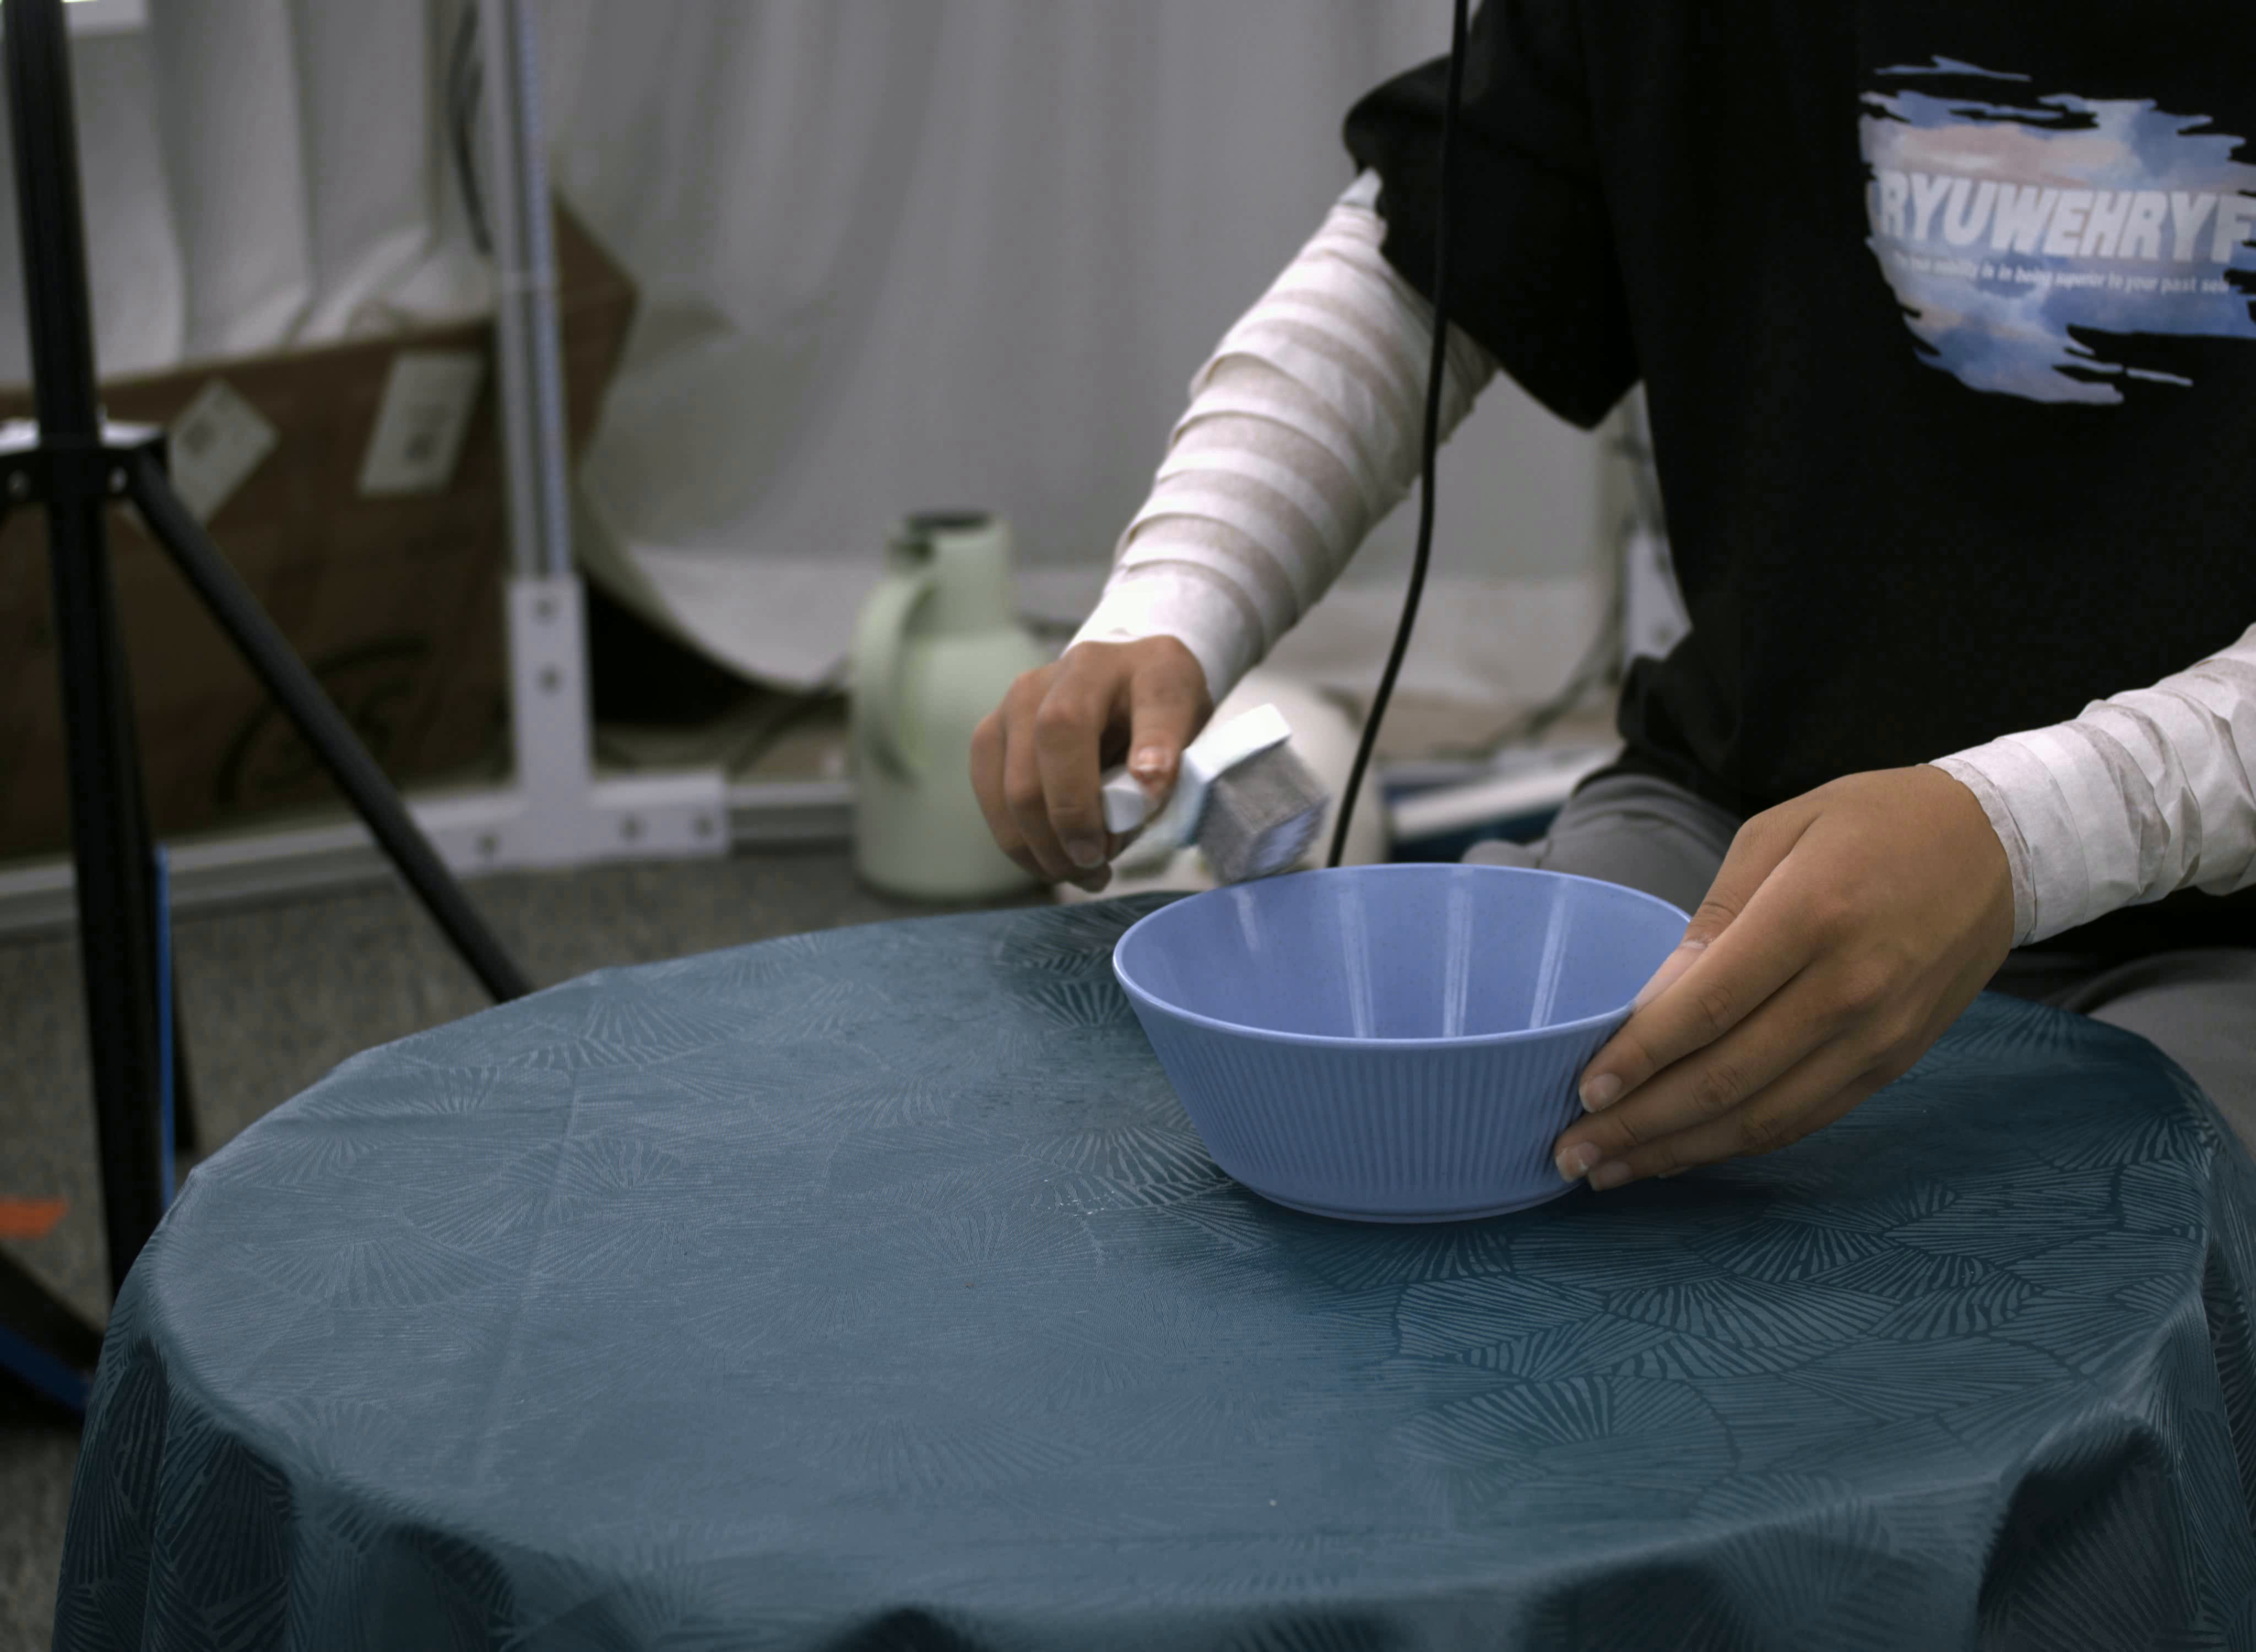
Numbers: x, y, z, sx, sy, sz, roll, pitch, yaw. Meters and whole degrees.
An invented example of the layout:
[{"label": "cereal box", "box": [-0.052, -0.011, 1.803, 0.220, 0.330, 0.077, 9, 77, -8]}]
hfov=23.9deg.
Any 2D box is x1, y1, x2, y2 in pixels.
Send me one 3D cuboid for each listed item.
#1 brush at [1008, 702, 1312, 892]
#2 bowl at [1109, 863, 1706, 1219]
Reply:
[{"label": "brush", "box": [0.009, 0.001, 1.706, 0.034, 0.050, 0.246, -29, 2, -16]}, {"label": "bowl", "box": [0.082, 0.066, 1.566, 0.175, 0.070, 0.177, -2, 16, -1]}]
